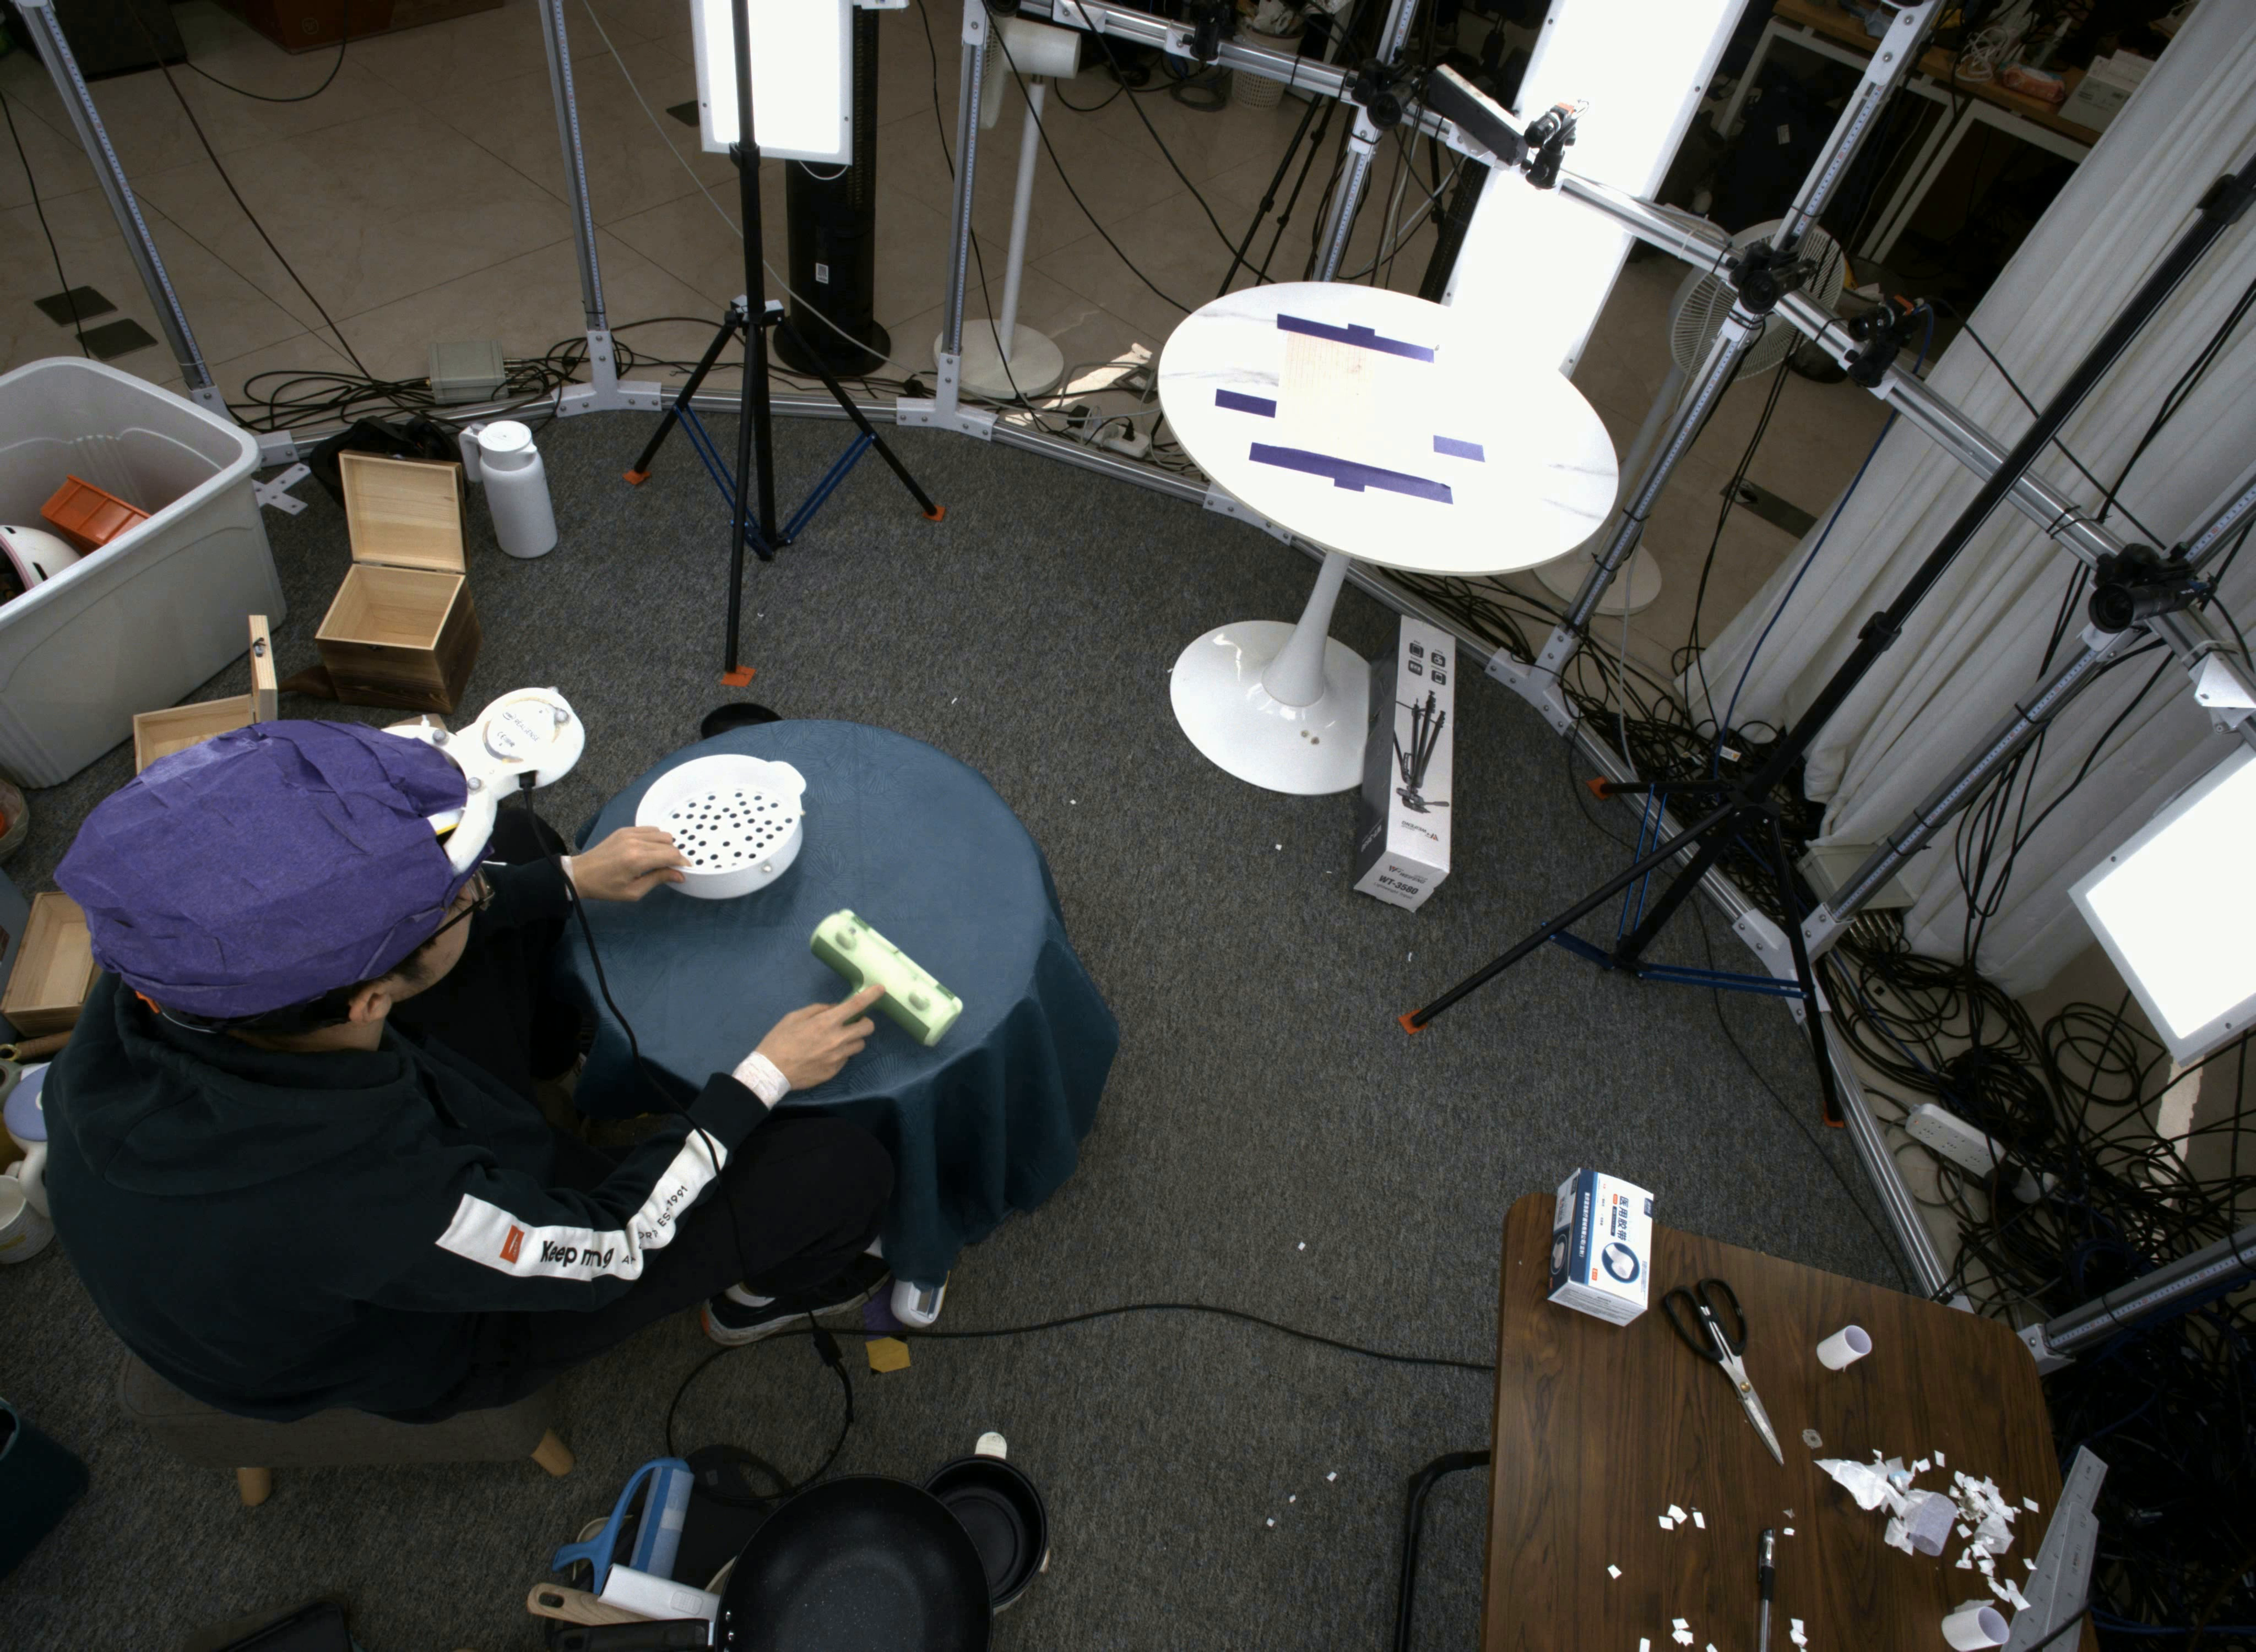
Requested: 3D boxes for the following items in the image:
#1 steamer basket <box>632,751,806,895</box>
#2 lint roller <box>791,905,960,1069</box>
[{"bbox_3d":[-0.508,-0.004,1.623,0.231,0.071,0.196,-33,59,-32],"label":"steamer basket"},{"bbox_3d":[-0.323,0.203,1.512,0.197,0.083,0.183,39,51,6],"label":"lint roller"}]
